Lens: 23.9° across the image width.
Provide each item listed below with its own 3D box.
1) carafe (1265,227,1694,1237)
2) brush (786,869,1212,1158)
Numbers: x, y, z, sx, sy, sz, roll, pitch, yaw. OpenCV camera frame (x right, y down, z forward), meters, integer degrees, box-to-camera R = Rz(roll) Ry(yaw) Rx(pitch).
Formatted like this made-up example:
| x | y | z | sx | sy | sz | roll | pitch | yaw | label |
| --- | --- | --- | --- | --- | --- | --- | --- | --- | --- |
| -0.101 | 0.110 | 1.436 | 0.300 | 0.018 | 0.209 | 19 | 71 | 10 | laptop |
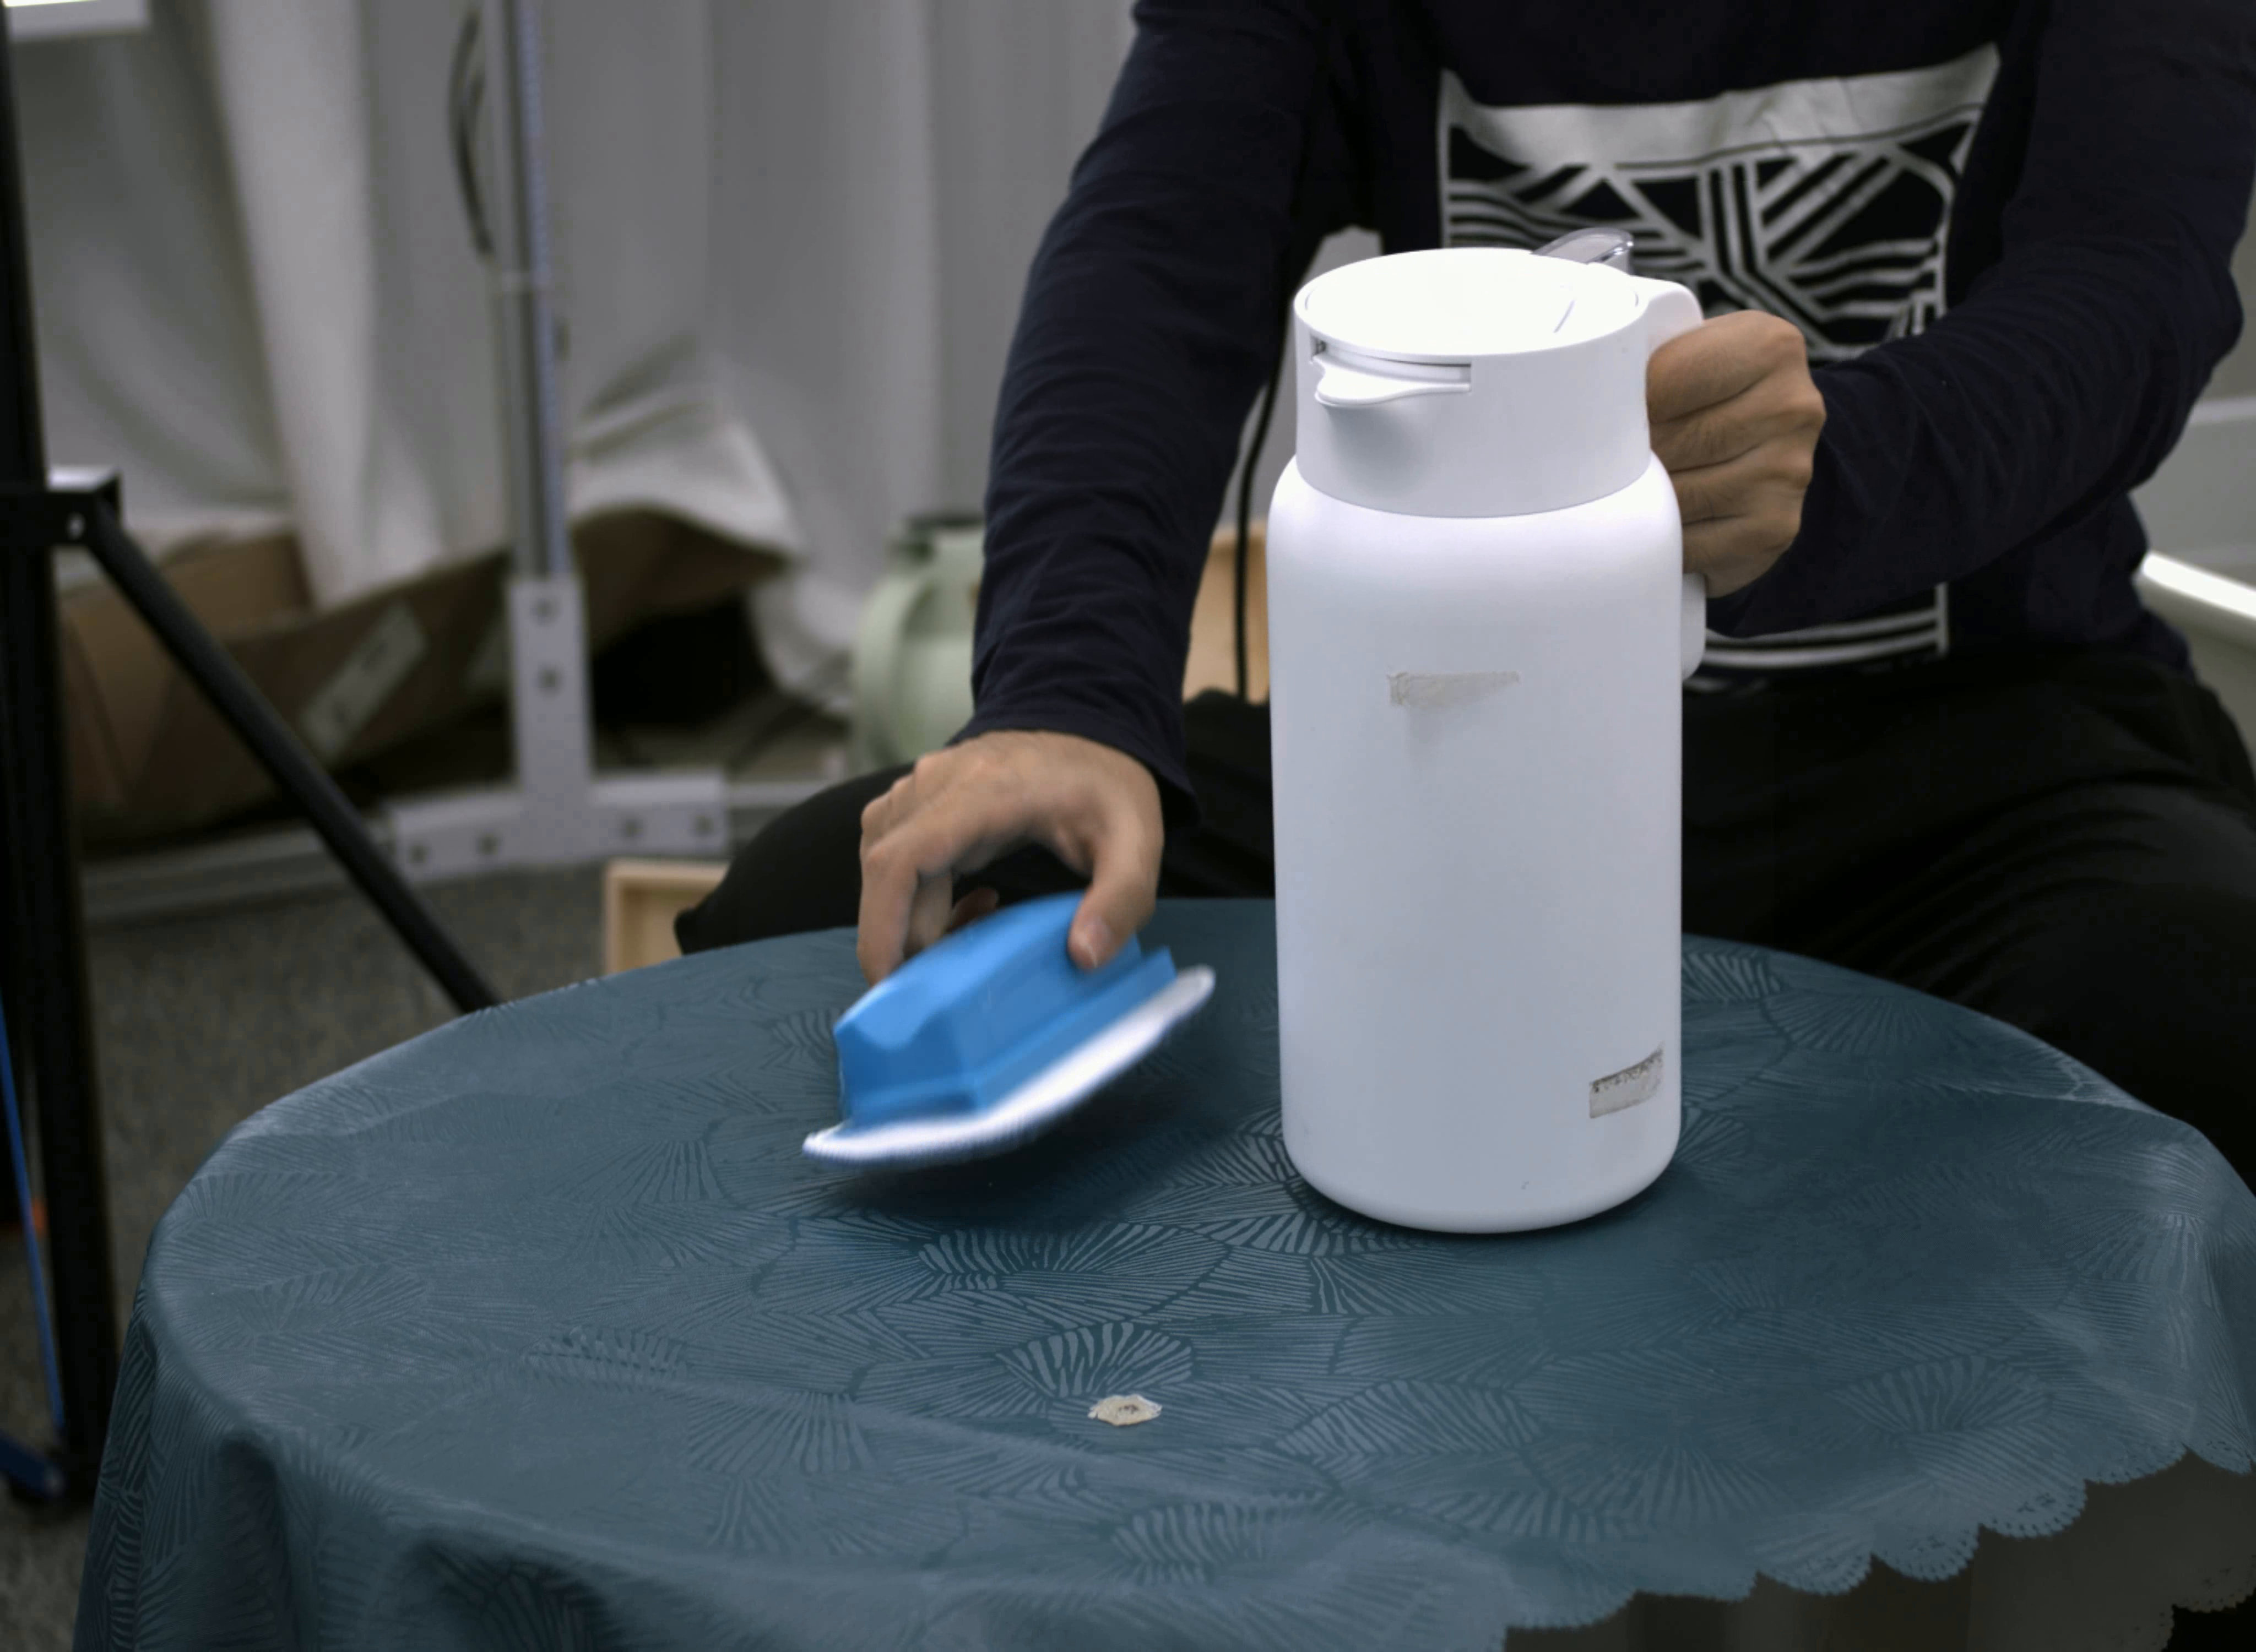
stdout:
| x | y | z | sx | sy | sz | roll | pitch | yaw | label |
| --- | --- | --- | --- | --- | --- | --- | --- | --- | --- |
| 0.107 | -0.030 | 1.523 | 0.126 | 0.268 | 0.169 | 10 | 24 | 34 | carafe |
| -0.040 | 0.053 | 1.601 | 0.085 | 0.056 | 0.142 | -3 | 19 | 34 | brush |
